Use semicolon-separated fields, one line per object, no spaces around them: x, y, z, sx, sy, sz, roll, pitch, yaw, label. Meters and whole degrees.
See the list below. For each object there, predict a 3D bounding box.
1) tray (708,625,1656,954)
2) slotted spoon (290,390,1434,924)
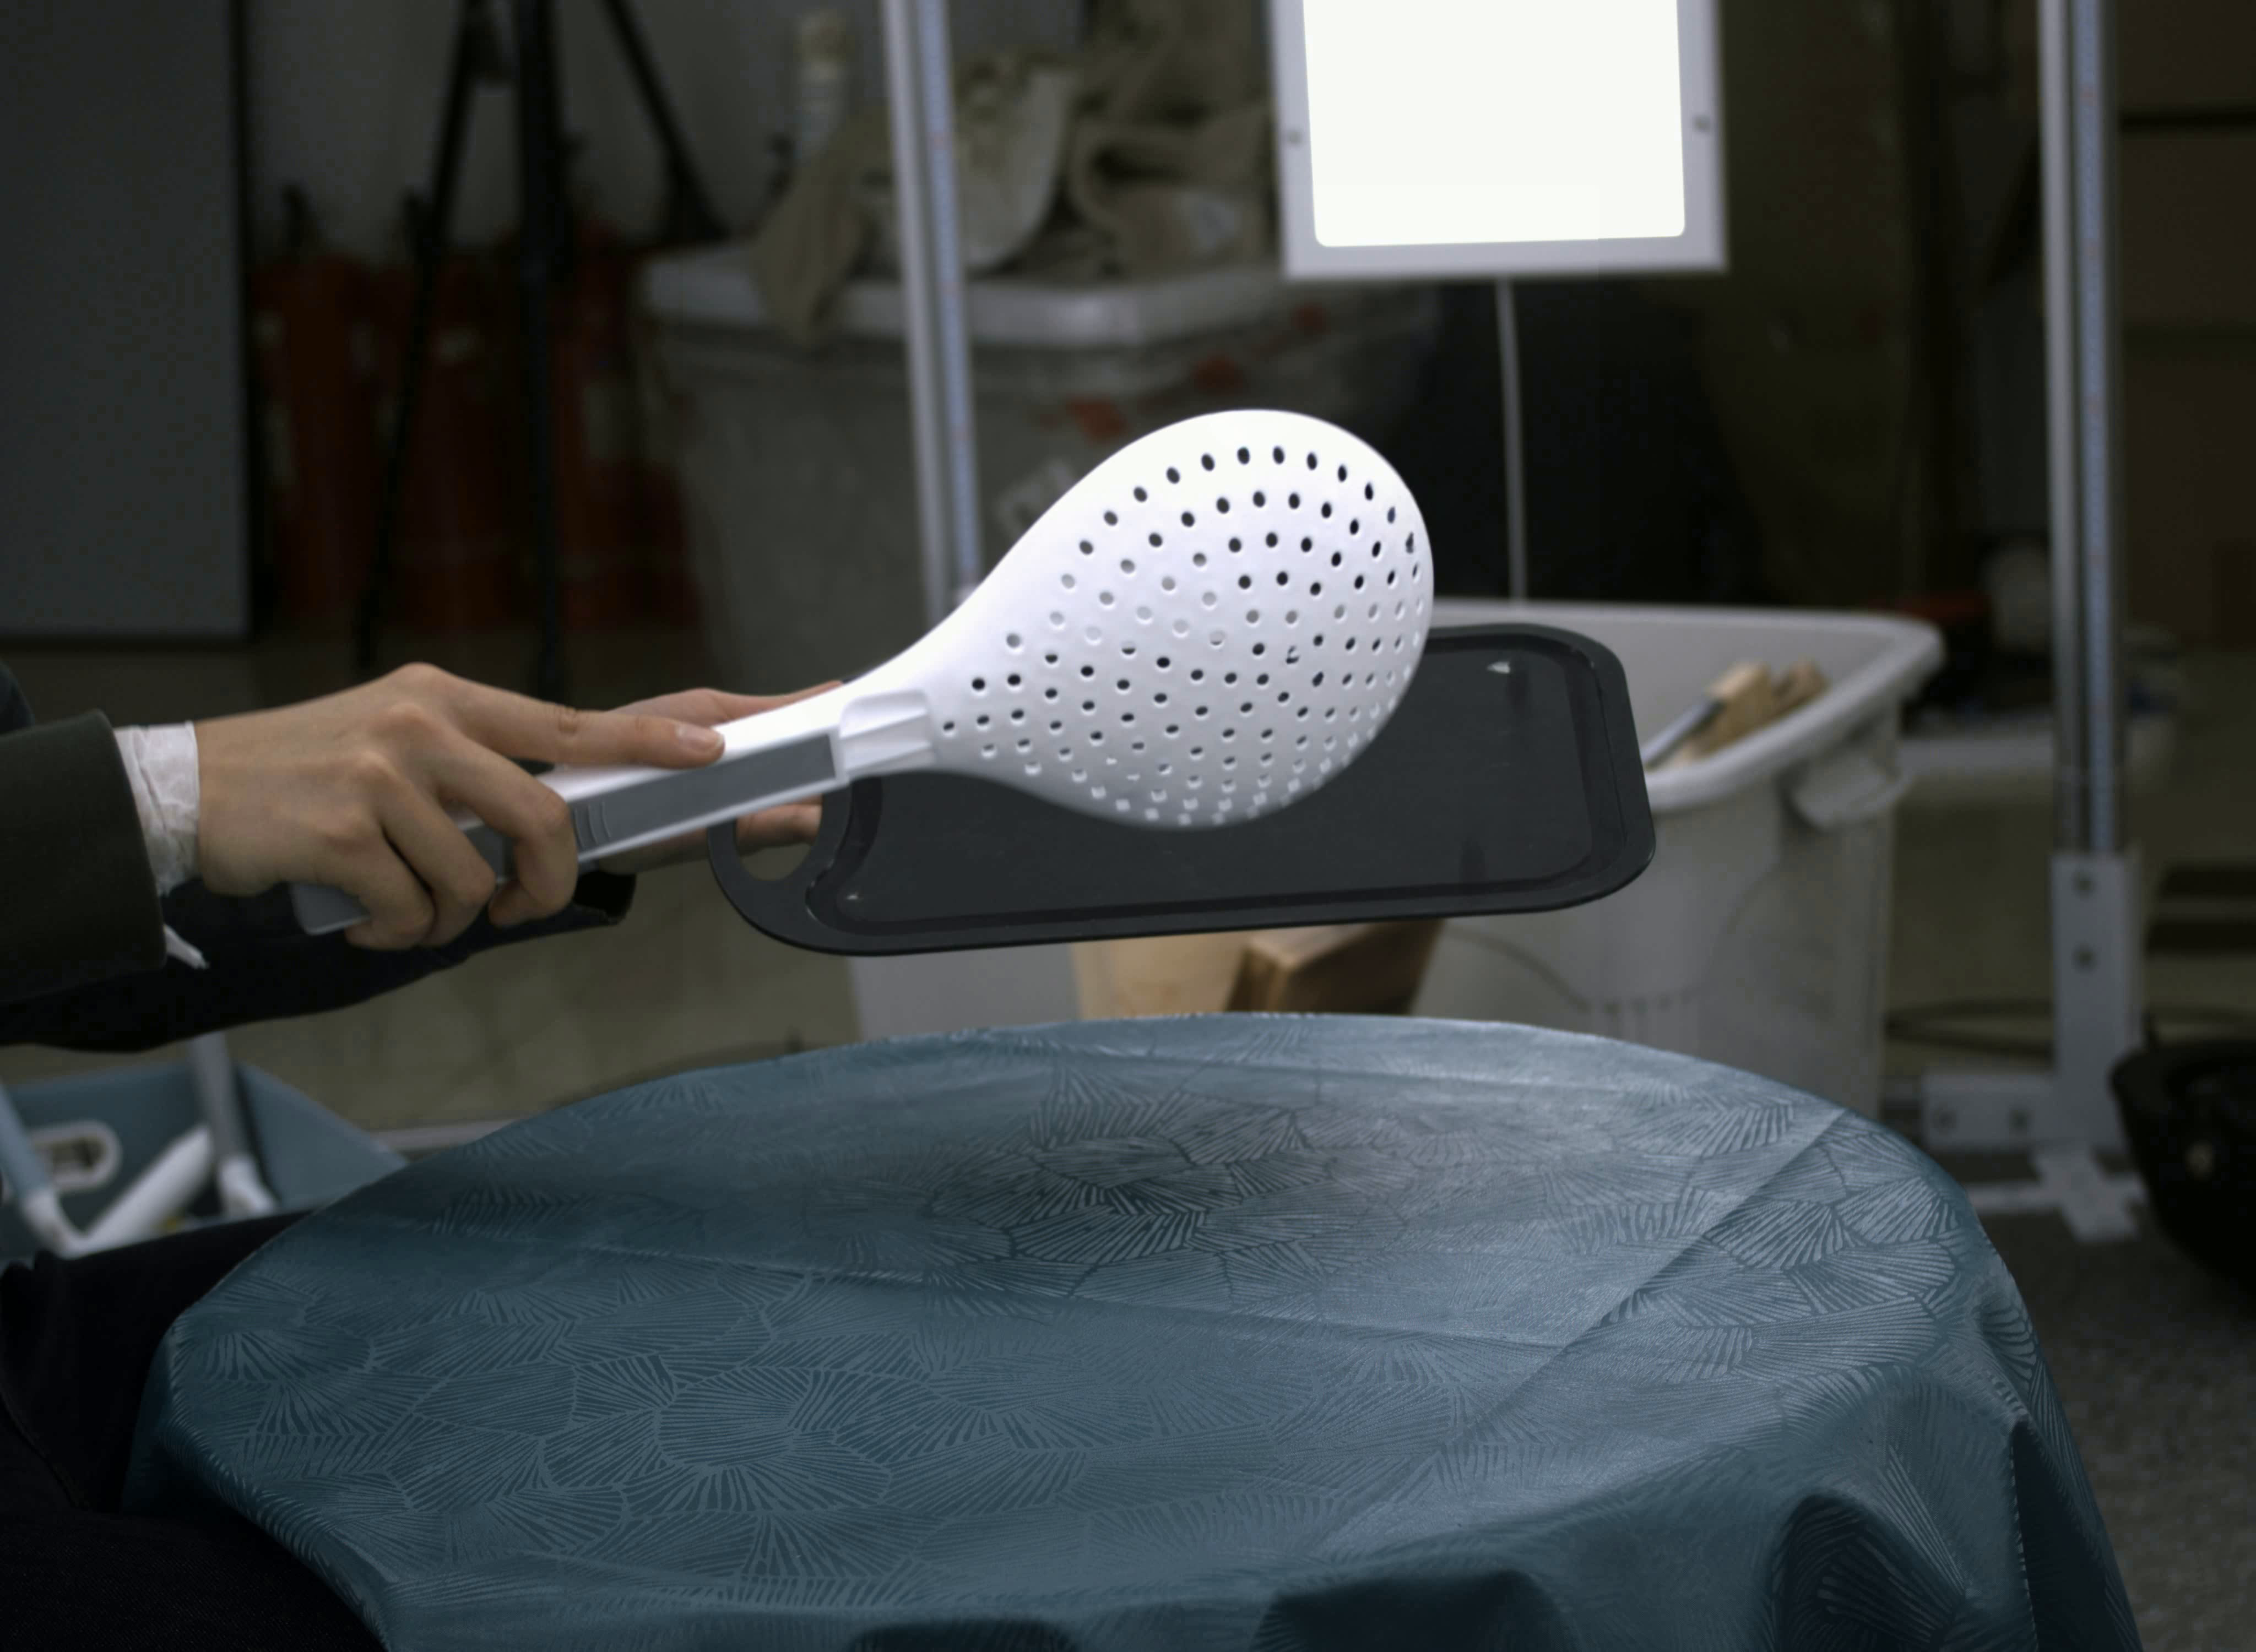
0.016;-0.016;1.899;0.325;0.010;0.210;-4;28;4;tray
-0.072;-0.033;1.593;0.347;0.136;0.046;-14;33;-6;slotted spoon
